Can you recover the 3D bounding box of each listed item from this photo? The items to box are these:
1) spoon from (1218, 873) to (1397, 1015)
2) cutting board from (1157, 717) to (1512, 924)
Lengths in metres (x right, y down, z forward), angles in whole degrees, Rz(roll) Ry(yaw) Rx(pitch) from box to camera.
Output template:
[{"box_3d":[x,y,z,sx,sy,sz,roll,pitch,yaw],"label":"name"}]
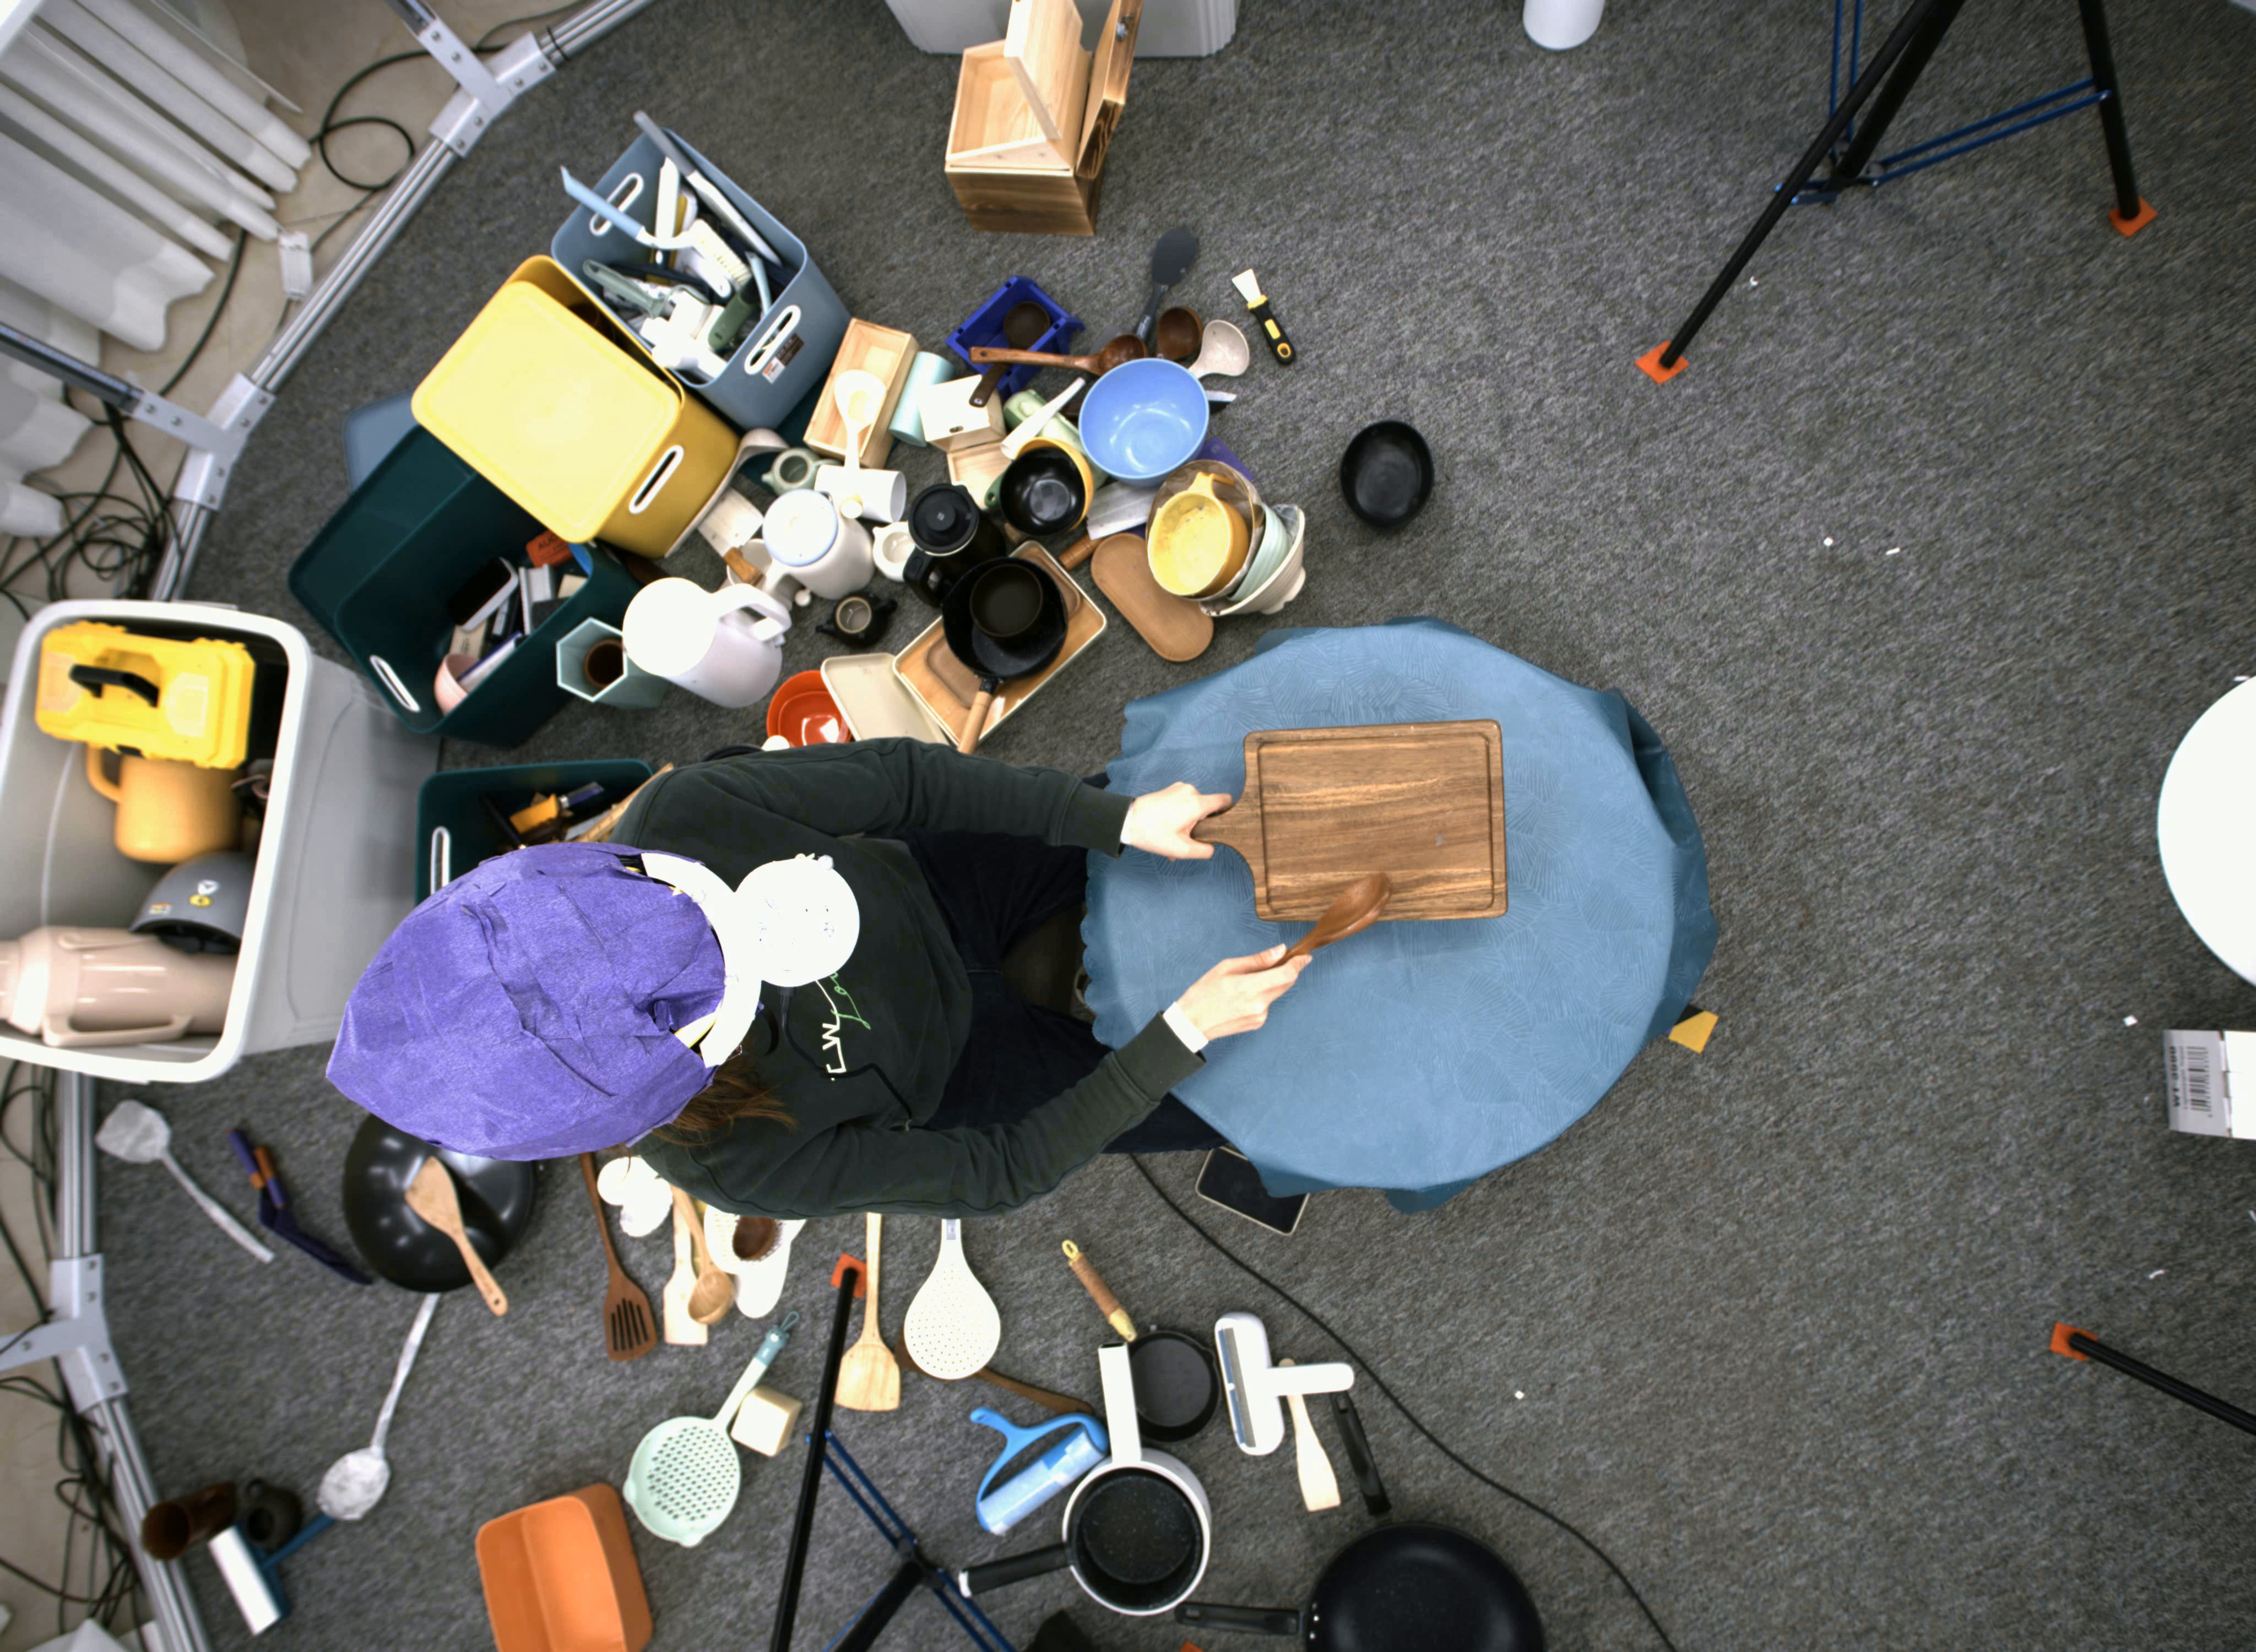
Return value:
[{"box_3d":[0.173,0.116,1.333,0.219,0.074,0.017,-38,111,18],"label":"spoon"},{"box_3d":[0.201,-0.001,1.384,0.354,0.023,0.203,-2,105,16],"label":"cutting board"}]
